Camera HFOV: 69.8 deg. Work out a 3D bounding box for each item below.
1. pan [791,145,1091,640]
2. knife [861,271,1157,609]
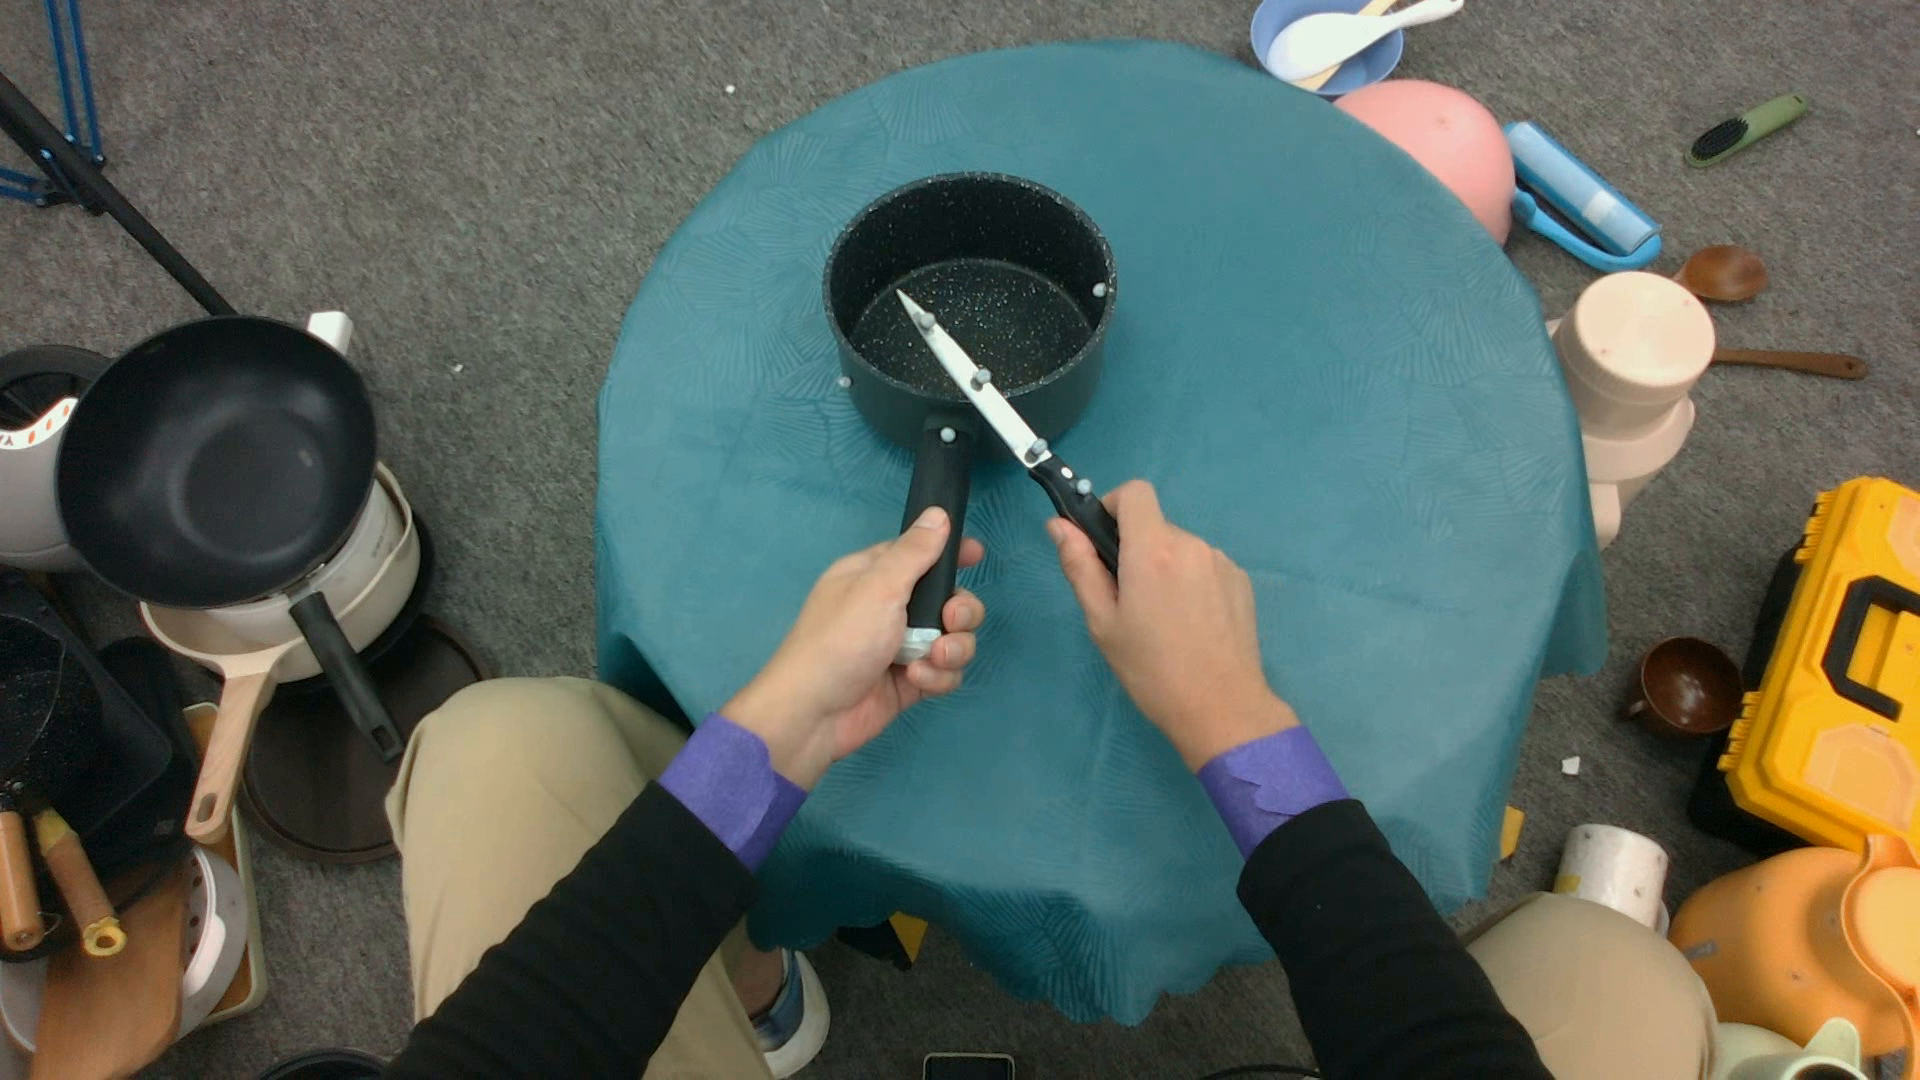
[{"bbox_3d":[-0.022,-0.079,0.781,0.172,0.086,0.330,8,60,6],"label":"pan"},{"bbox_3d":[0.025,-0.058,0.734,0.238,0.016,0.024,50,42,9],"label":"knife"}]
